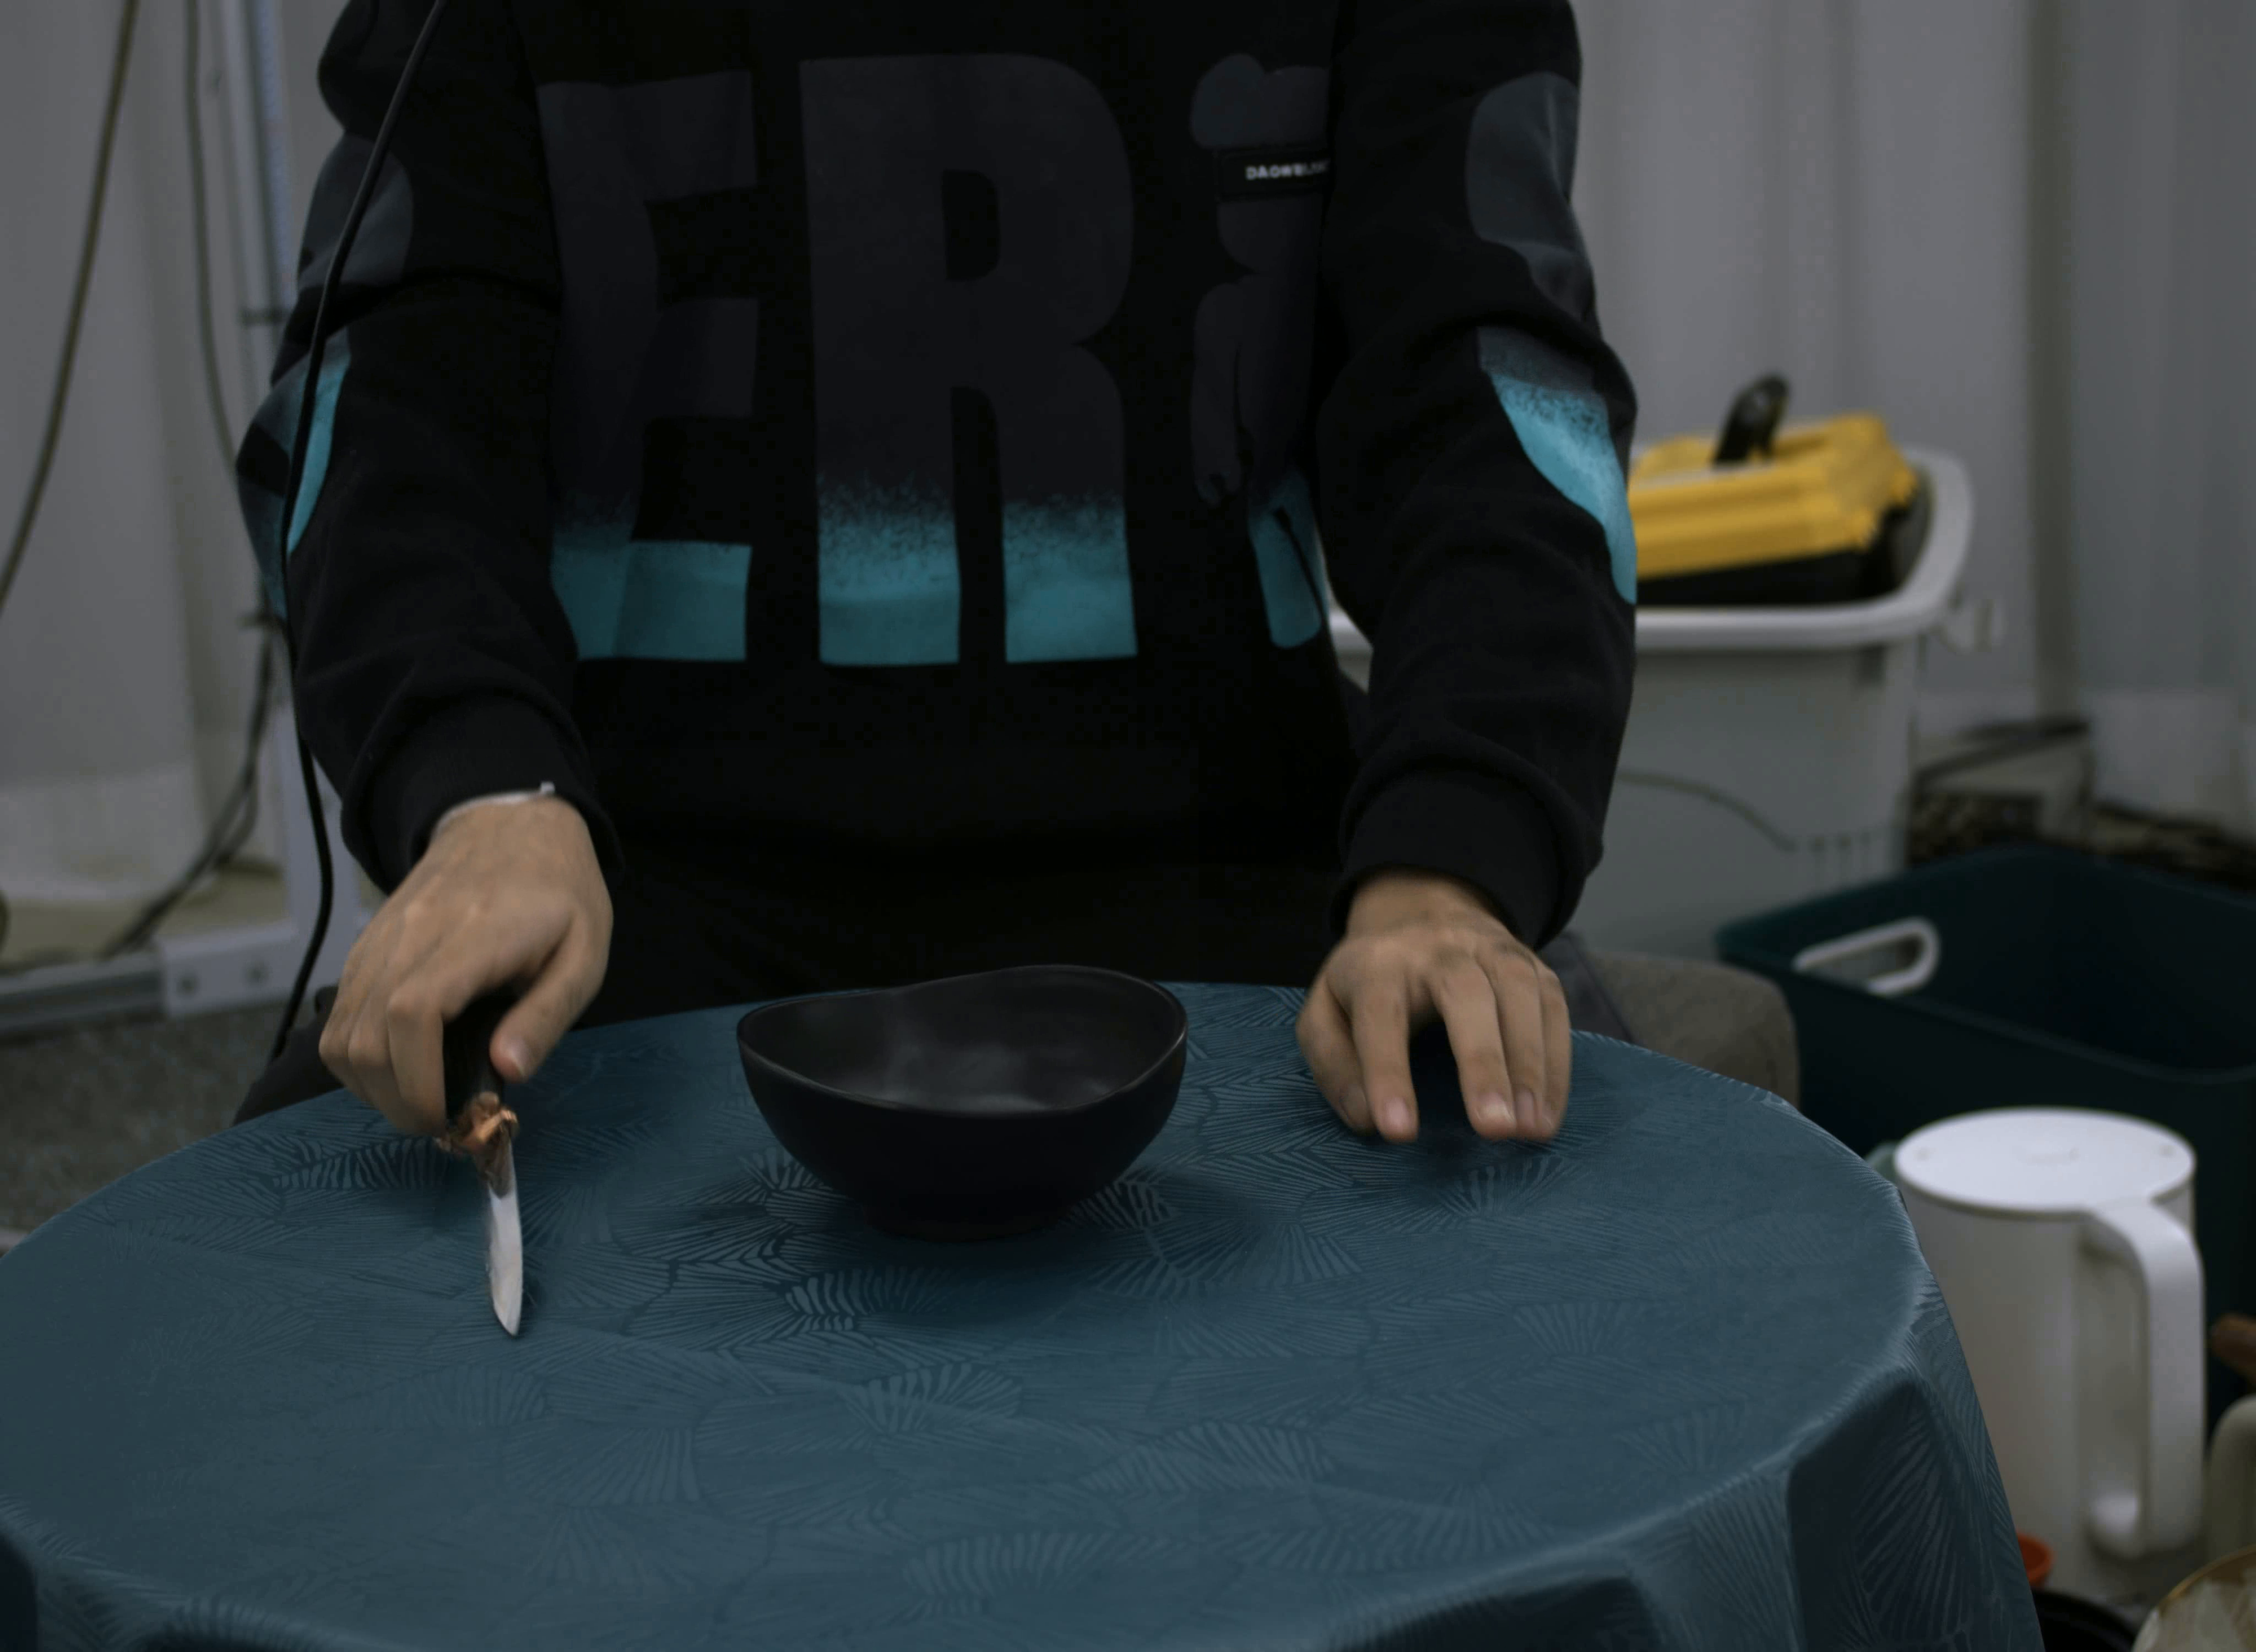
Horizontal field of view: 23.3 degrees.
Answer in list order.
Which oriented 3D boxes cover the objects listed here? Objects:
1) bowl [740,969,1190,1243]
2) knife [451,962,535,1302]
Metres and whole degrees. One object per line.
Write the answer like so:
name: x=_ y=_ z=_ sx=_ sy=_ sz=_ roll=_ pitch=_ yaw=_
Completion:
bowl: x=-0.050 y=0.089 z=1.696 sx=0.137 sy=0.066 sz=0.171 roll=-8 pitch=14 yaw=-19
knife: x=-0.198 y=0.097 z=1.708 sx=0.017 sy=0.026 sz=0.228 roll=26 pitch=17 yaw=-20
